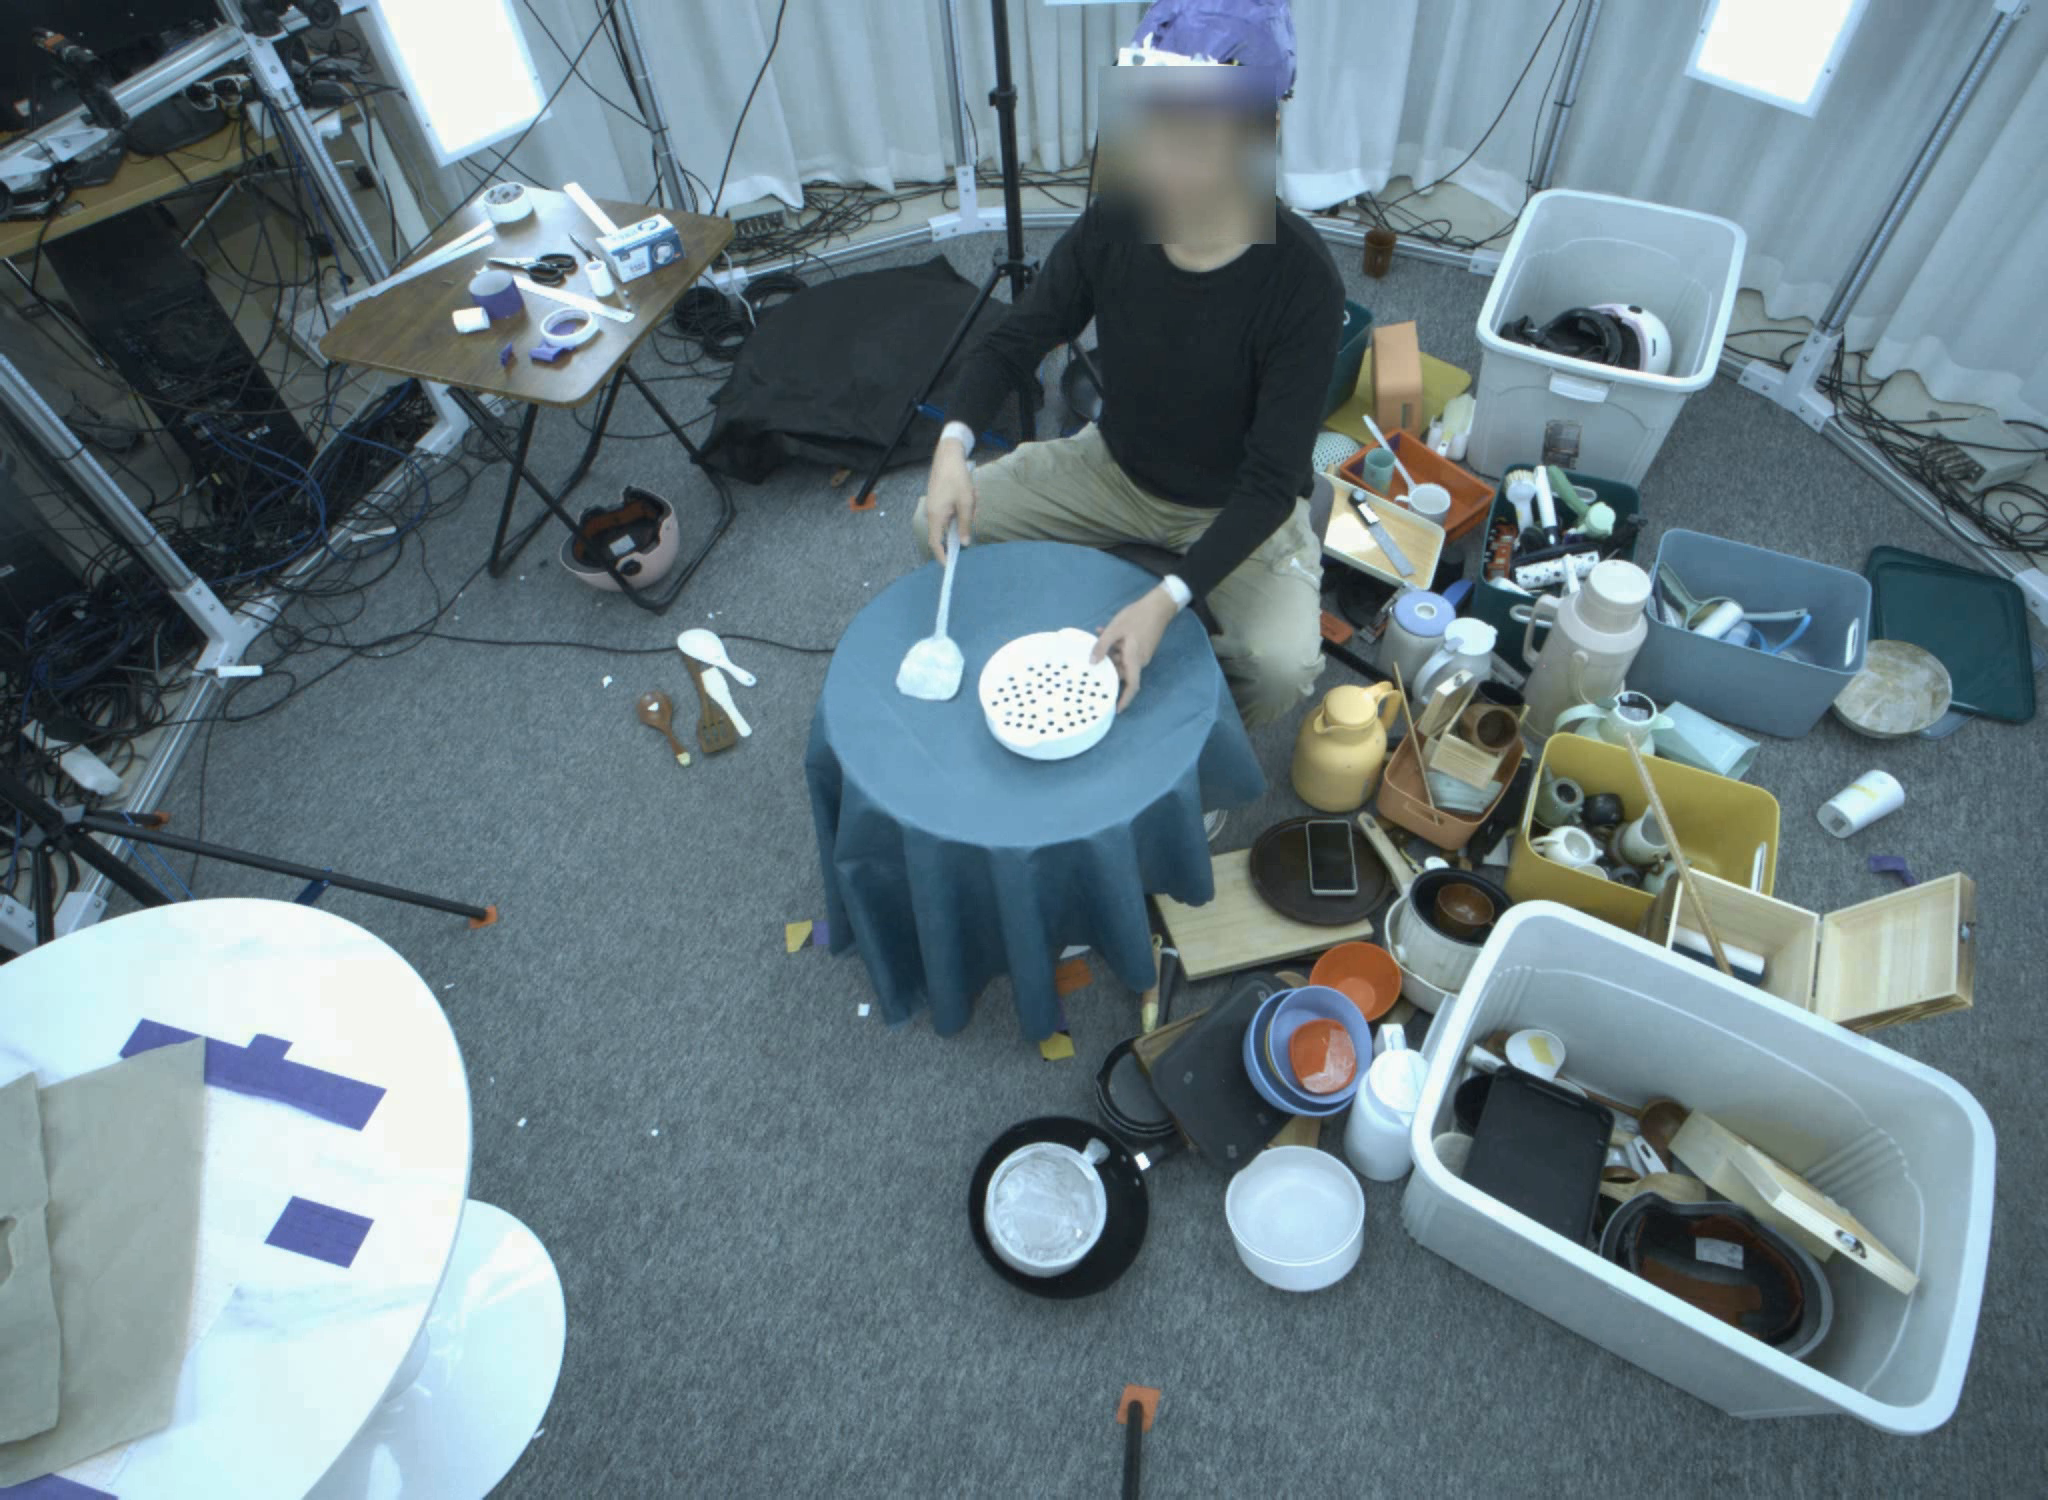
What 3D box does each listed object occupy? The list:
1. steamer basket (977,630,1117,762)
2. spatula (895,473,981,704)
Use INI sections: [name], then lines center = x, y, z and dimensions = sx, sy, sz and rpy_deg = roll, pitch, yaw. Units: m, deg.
[steamer basket]
center = 0.034, -0.075, 1.797
dimensions = 0.199, 0.070, 0.231
rpy_deg = 23, 58, 16
[spatula]
center = -0.116, -0.251, 1.856
dimensions = 0.098, 0.045, 0.365
rpy_deg = 11, 92, 11
